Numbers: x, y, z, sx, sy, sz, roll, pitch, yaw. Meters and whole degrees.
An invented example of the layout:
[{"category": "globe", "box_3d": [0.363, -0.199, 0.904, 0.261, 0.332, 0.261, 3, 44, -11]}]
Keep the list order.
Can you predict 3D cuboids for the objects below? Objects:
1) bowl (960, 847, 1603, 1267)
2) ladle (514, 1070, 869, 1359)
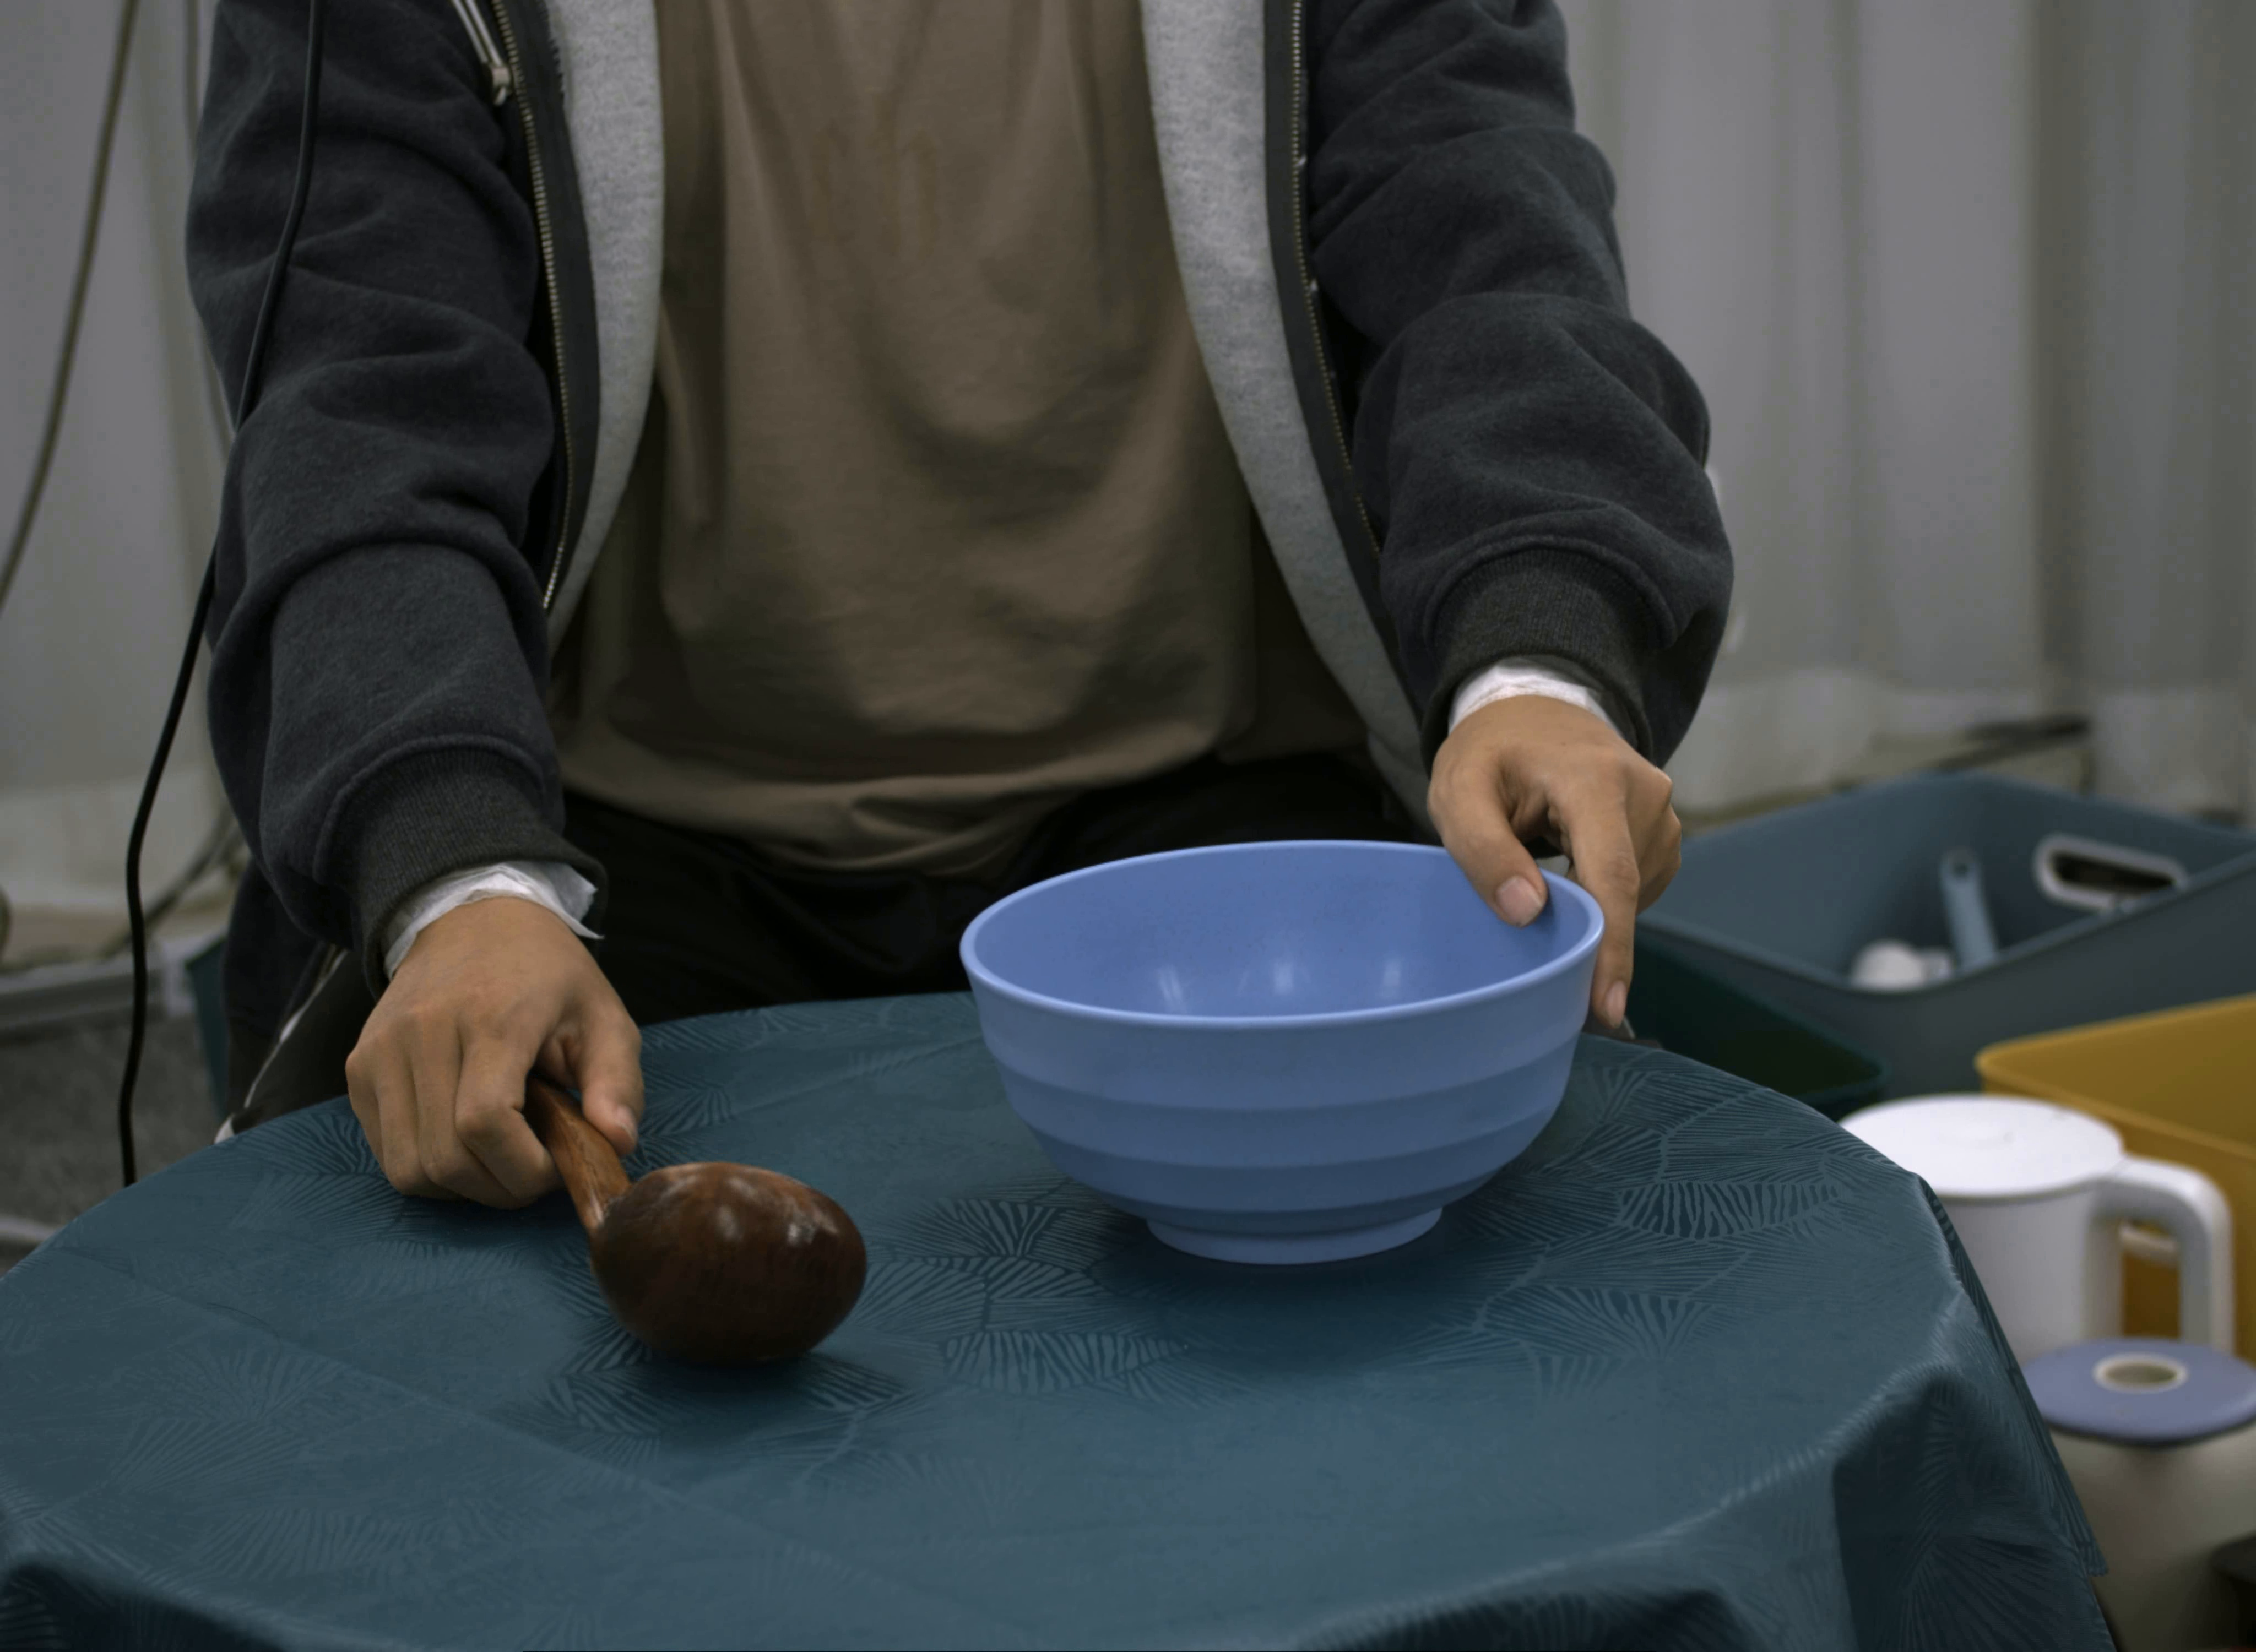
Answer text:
[{"category": "bowl", "box_3d": [0.049, 0.076, 1.673, 0.196, 0.095, 0.198, -4, 14, 1]}, {"category": "ladle", "box_3d": [-0.144, 0.095, 1.663, 0.081, 0.076, 0.276, 30, 6, -20]}]
